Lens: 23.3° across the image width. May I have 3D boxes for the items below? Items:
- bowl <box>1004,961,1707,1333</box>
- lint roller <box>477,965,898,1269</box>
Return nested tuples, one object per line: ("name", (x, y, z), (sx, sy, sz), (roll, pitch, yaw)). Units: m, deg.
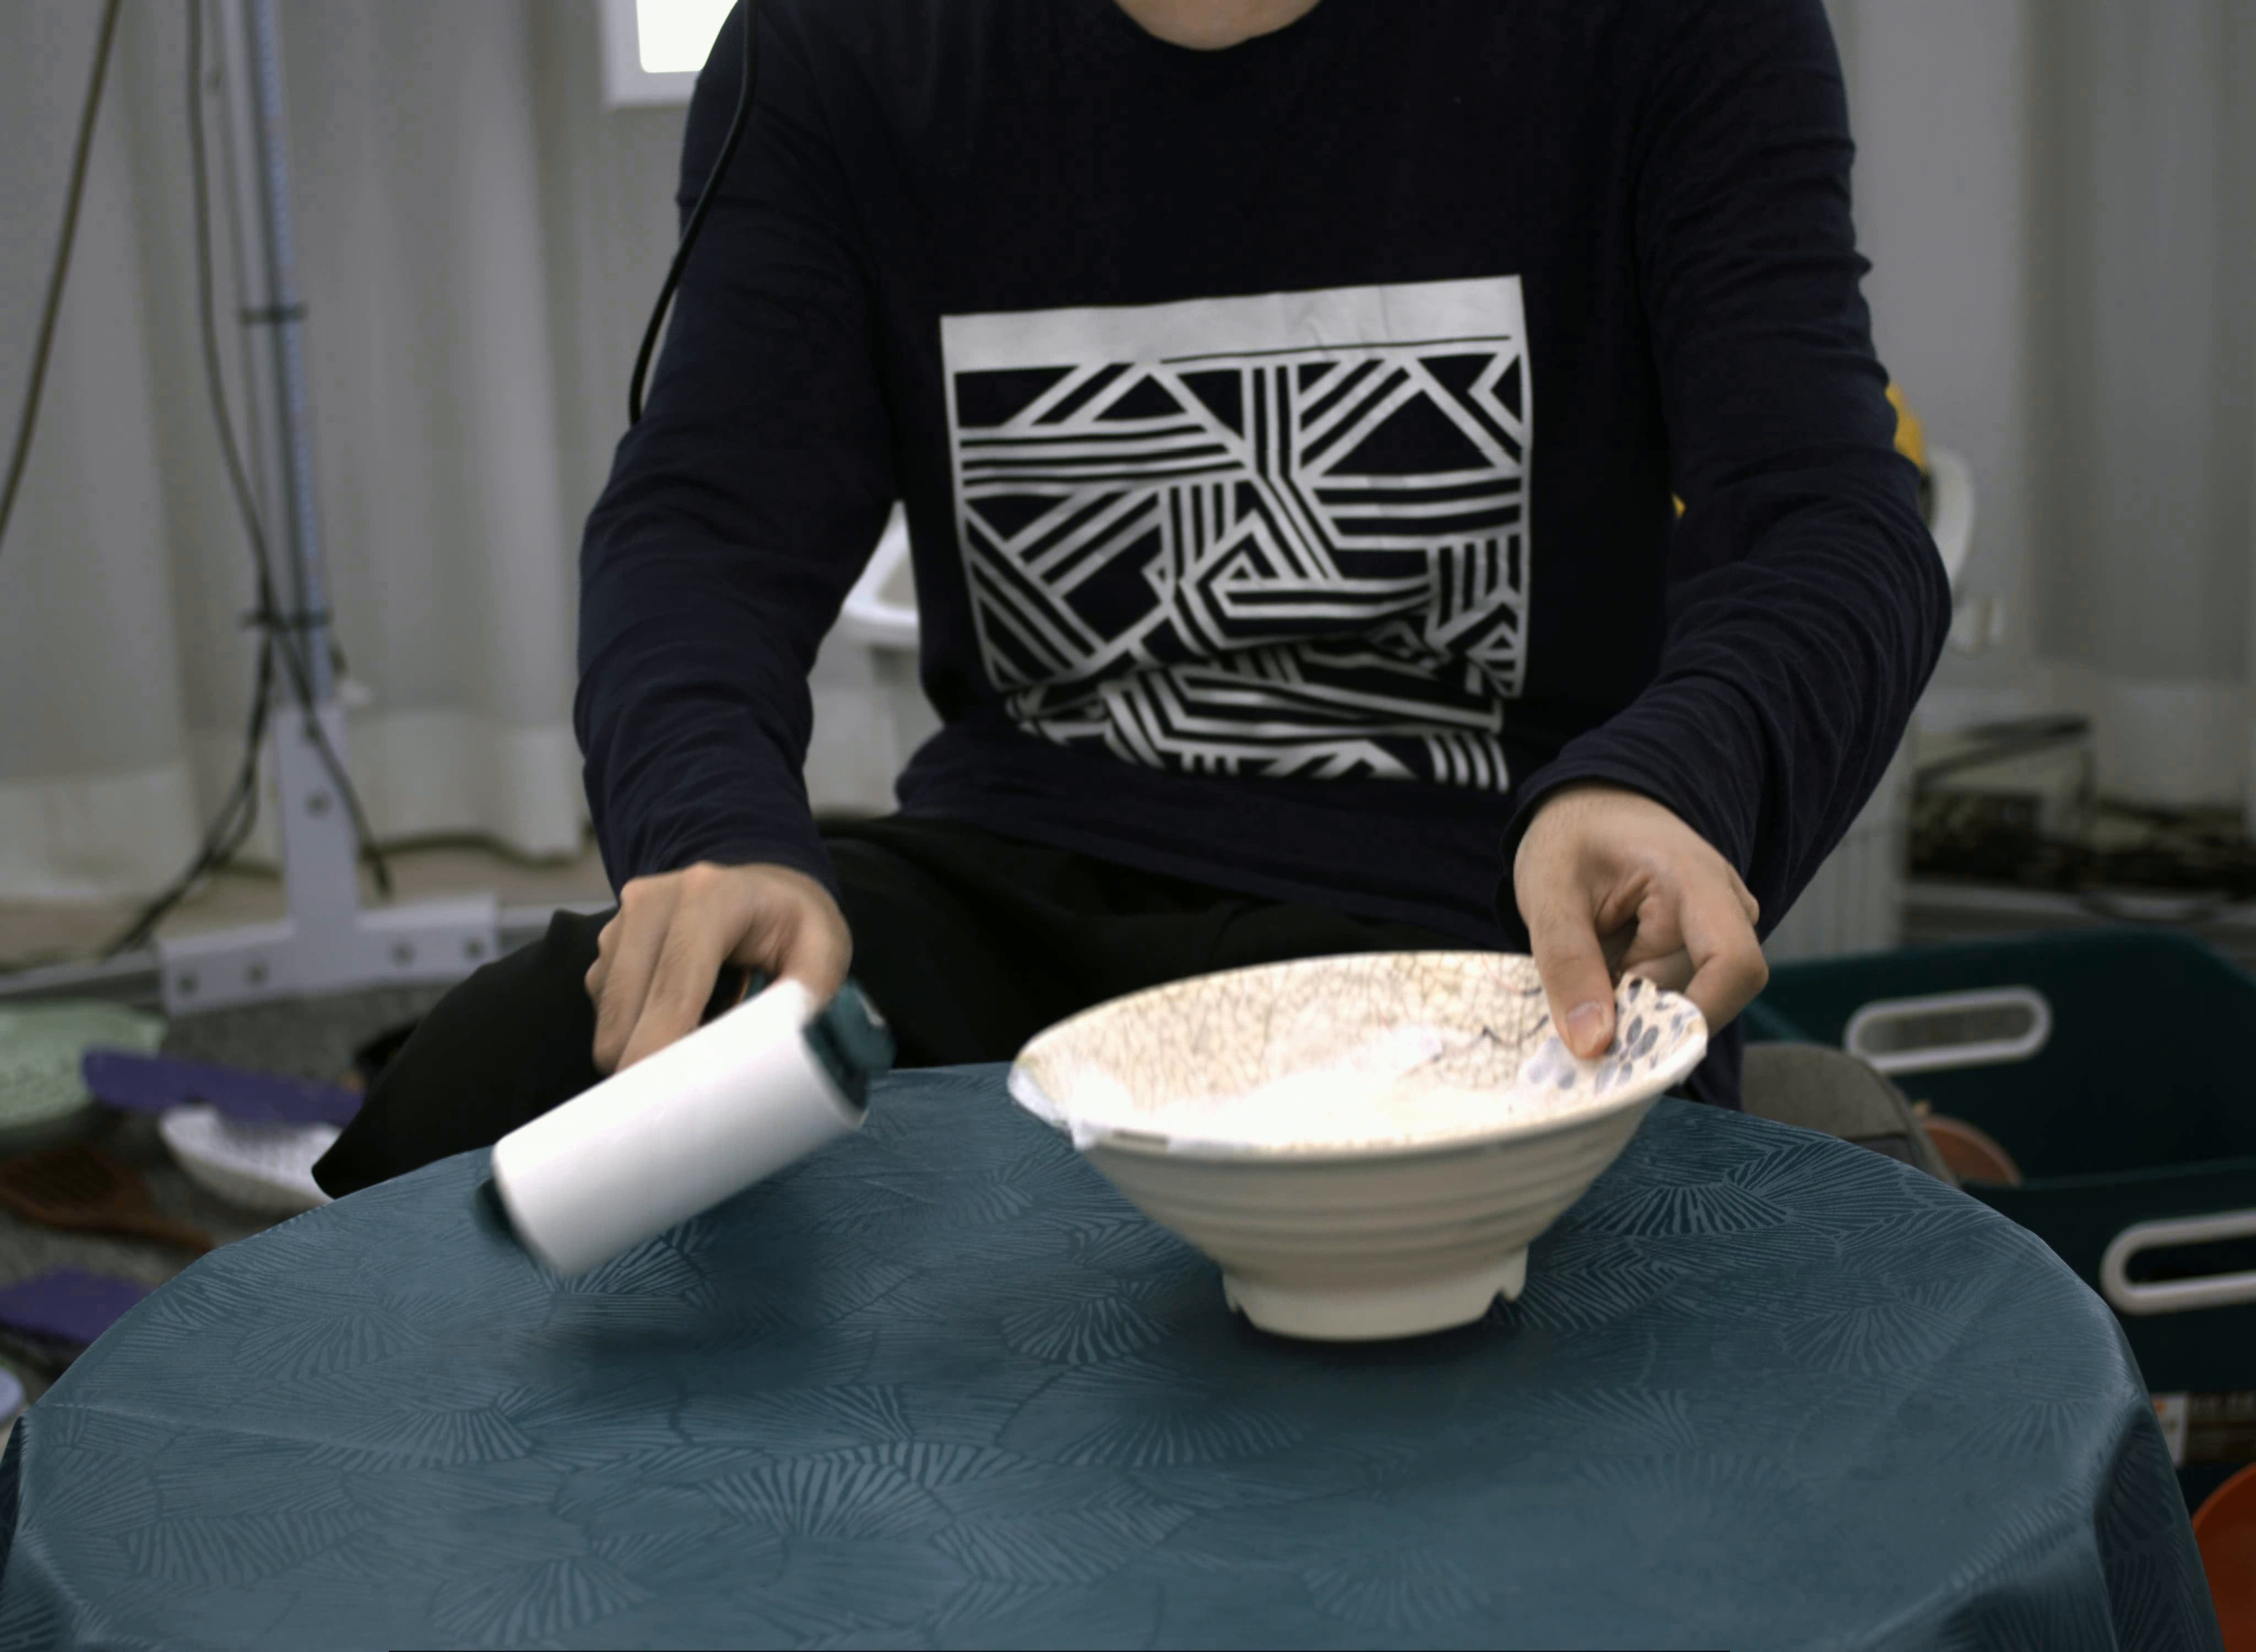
("bowl", (0.067, 0.098, 1.586), (0.203, 0.078, 0.205), (-2, 10, 0))
("lint roller", (-0.130, 0.065, 1.655), (0.134, 0.048, 0.181), (-30, 16, 7))
